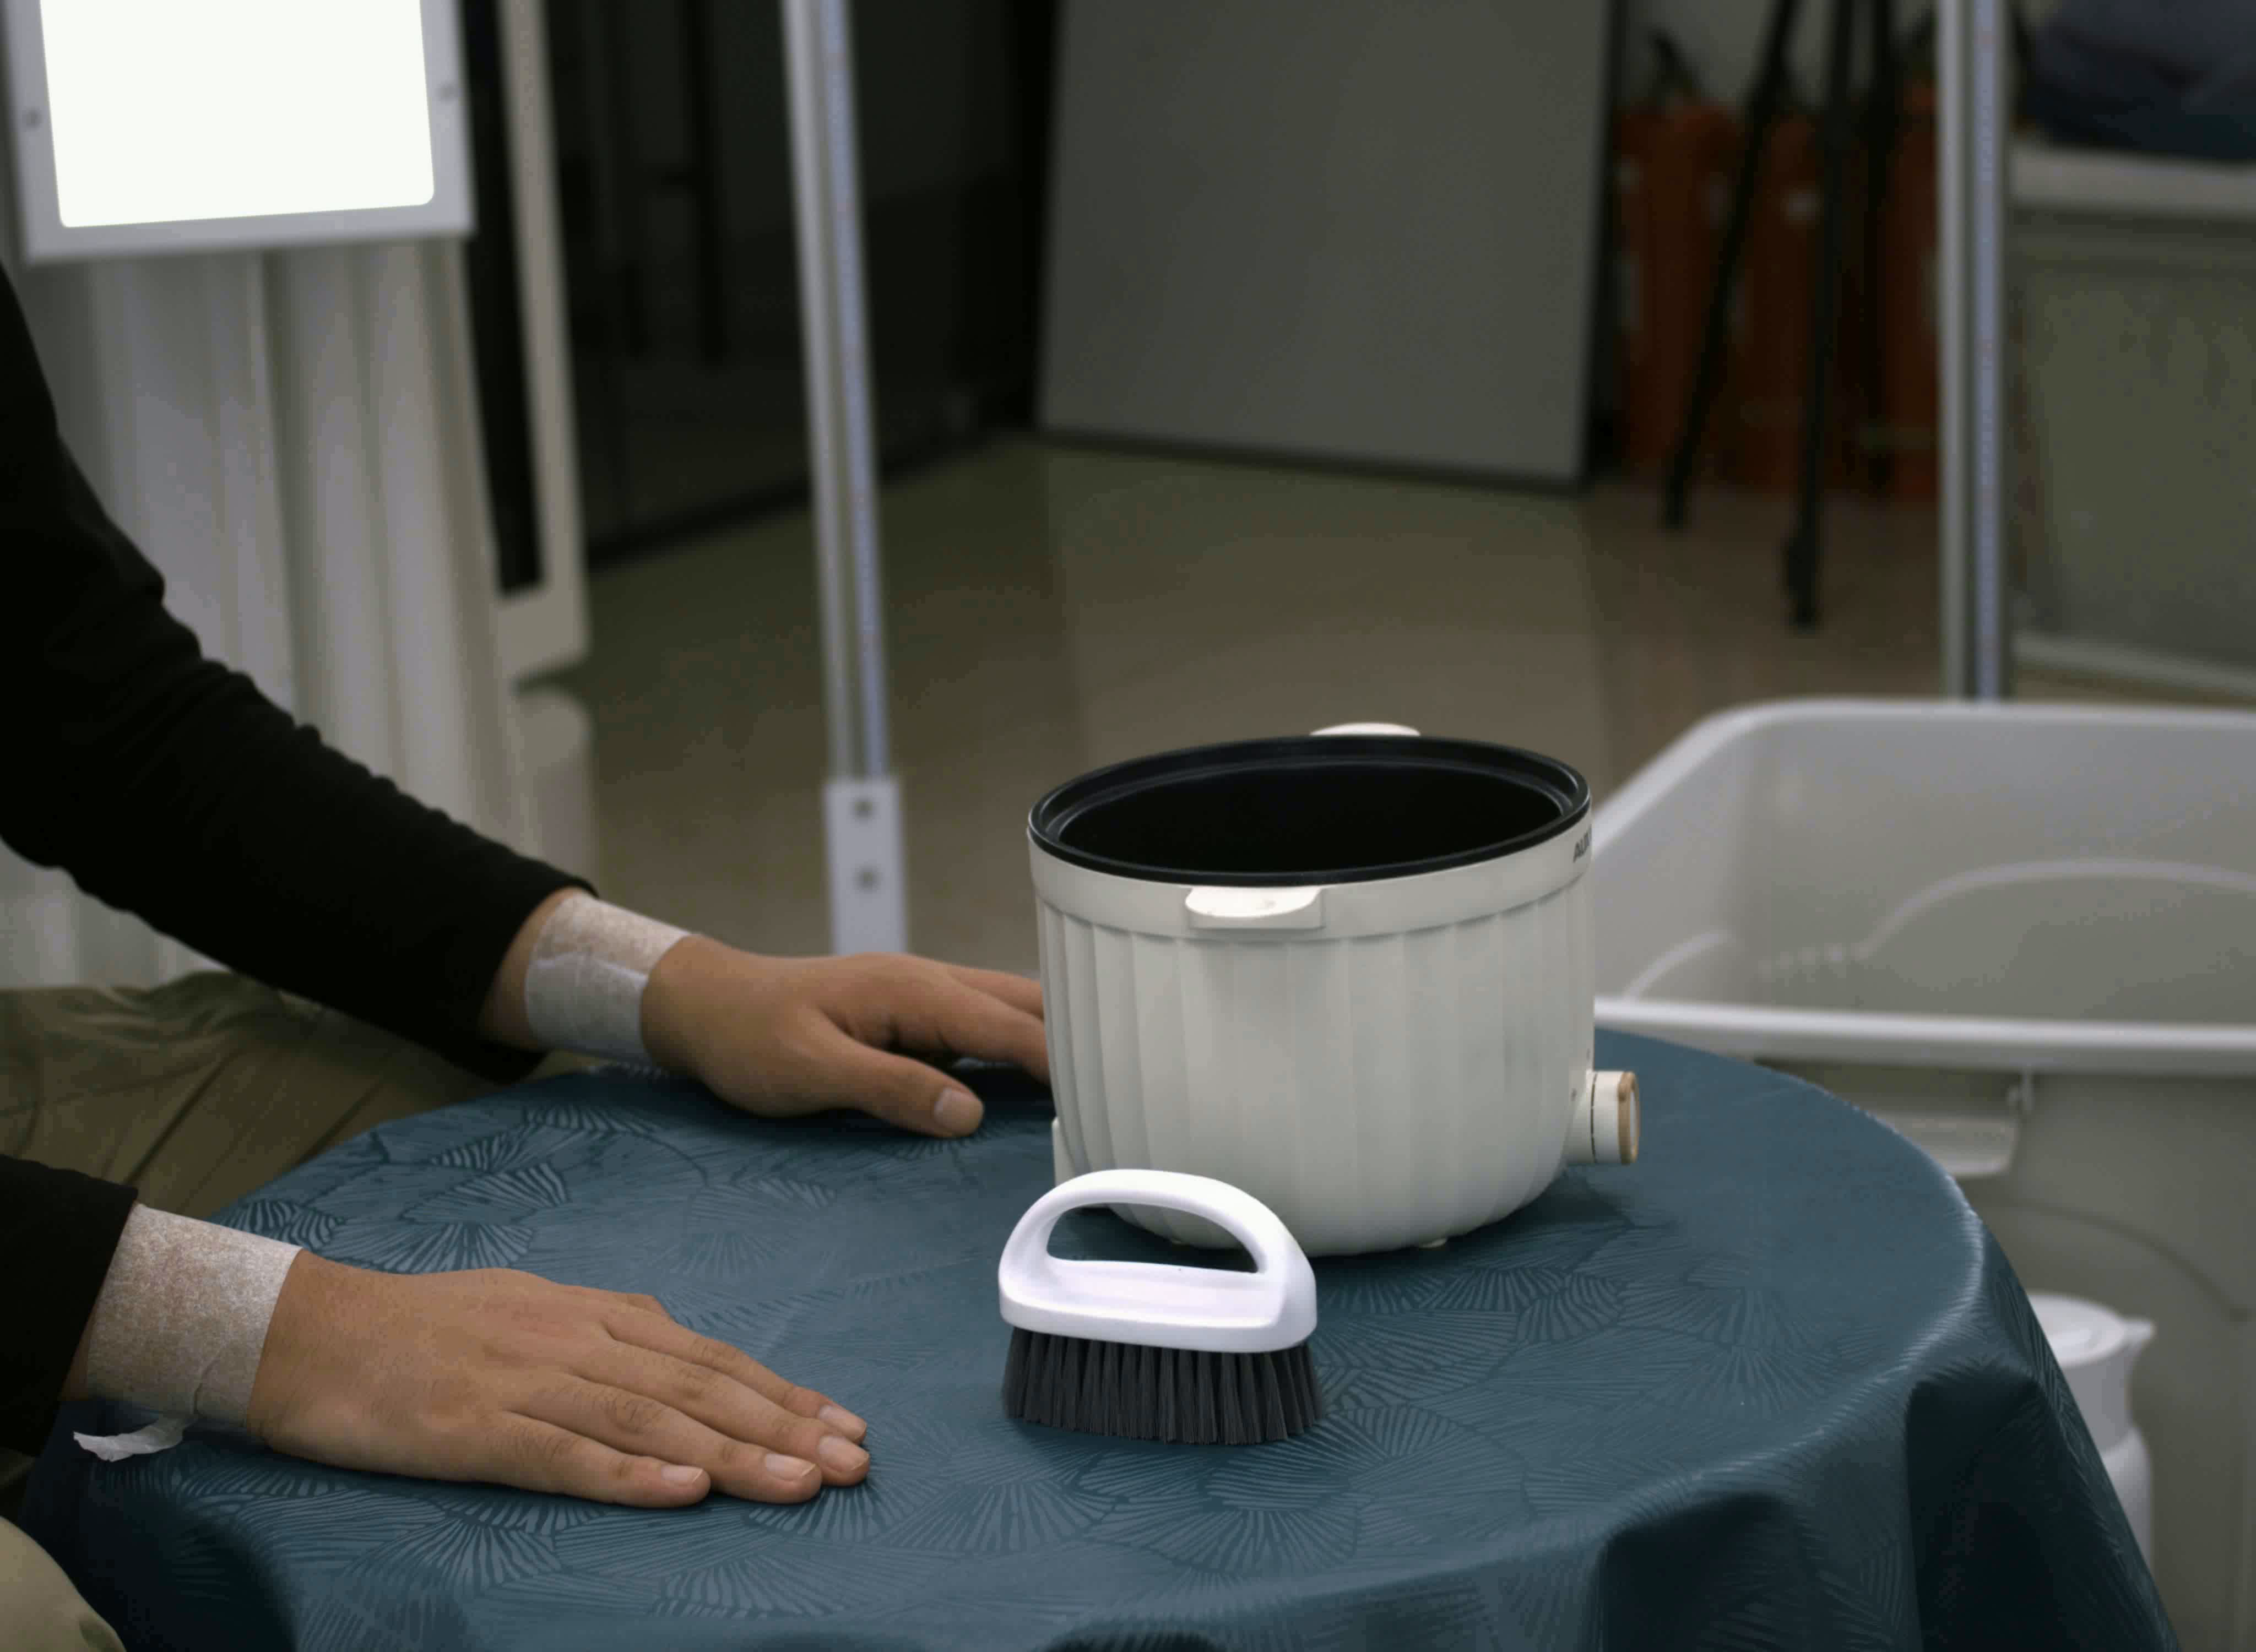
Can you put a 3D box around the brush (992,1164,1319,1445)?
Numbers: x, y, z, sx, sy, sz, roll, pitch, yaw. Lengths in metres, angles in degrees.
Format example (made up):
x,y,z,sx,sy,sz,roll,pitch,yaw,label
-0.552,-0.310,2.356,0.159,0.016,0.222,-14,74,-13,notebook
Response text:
x,y,z,sx,sy,sz,roll,pitch,yaw,label
0.007,0.134,1.559,0.099,0.073,0.049,3,14,27,brush

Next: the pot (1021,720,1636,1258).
x,y,z,sx,sy,sz,roll,pitch,yaw,label
0.065,0.054,1.729,0.189,0.144,0.239,-4,15,13,pot
